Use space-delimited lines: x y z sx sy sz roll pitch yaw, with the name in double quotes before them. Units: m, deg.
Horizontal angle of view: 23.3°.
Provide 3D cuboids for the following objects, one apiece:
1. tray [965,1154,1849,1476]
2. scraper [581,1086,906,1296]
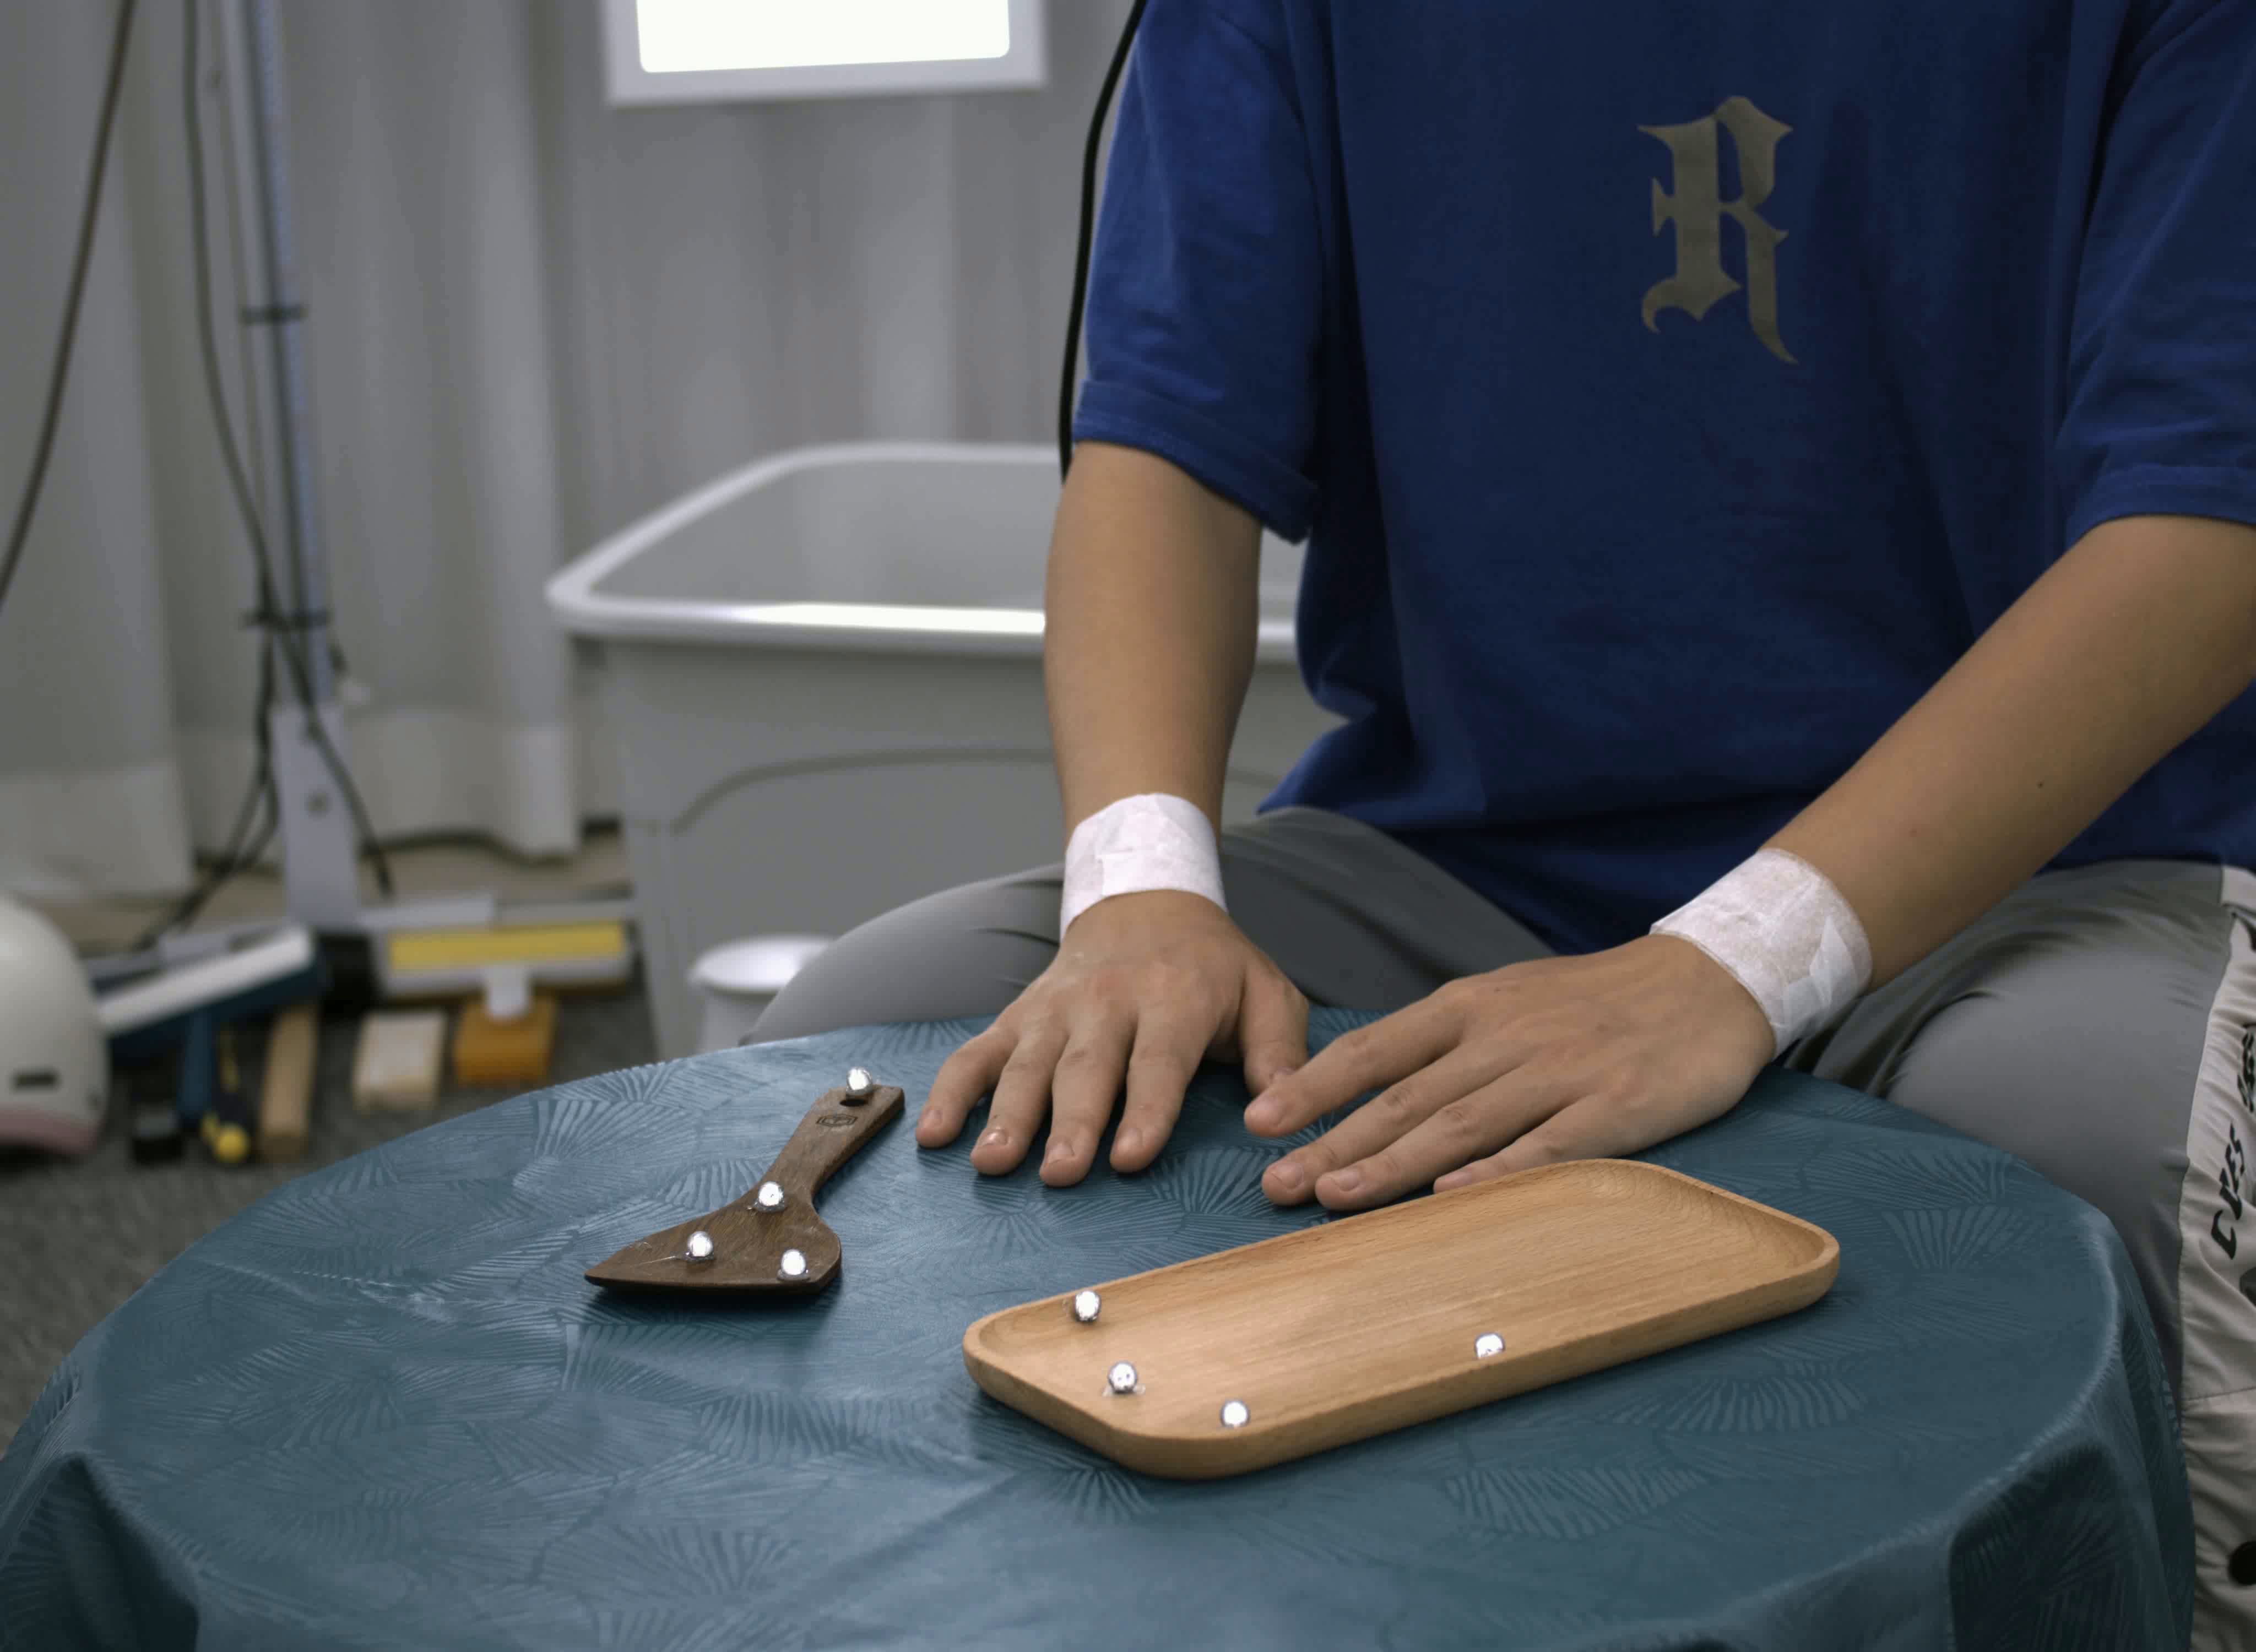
"tray" 0.082 0.139 1.571 0.250 0.023 0.131 -11 19 -31
"scraper" -0.107 0.114 1.717 0.076 0.011 0.212 1 14 12
